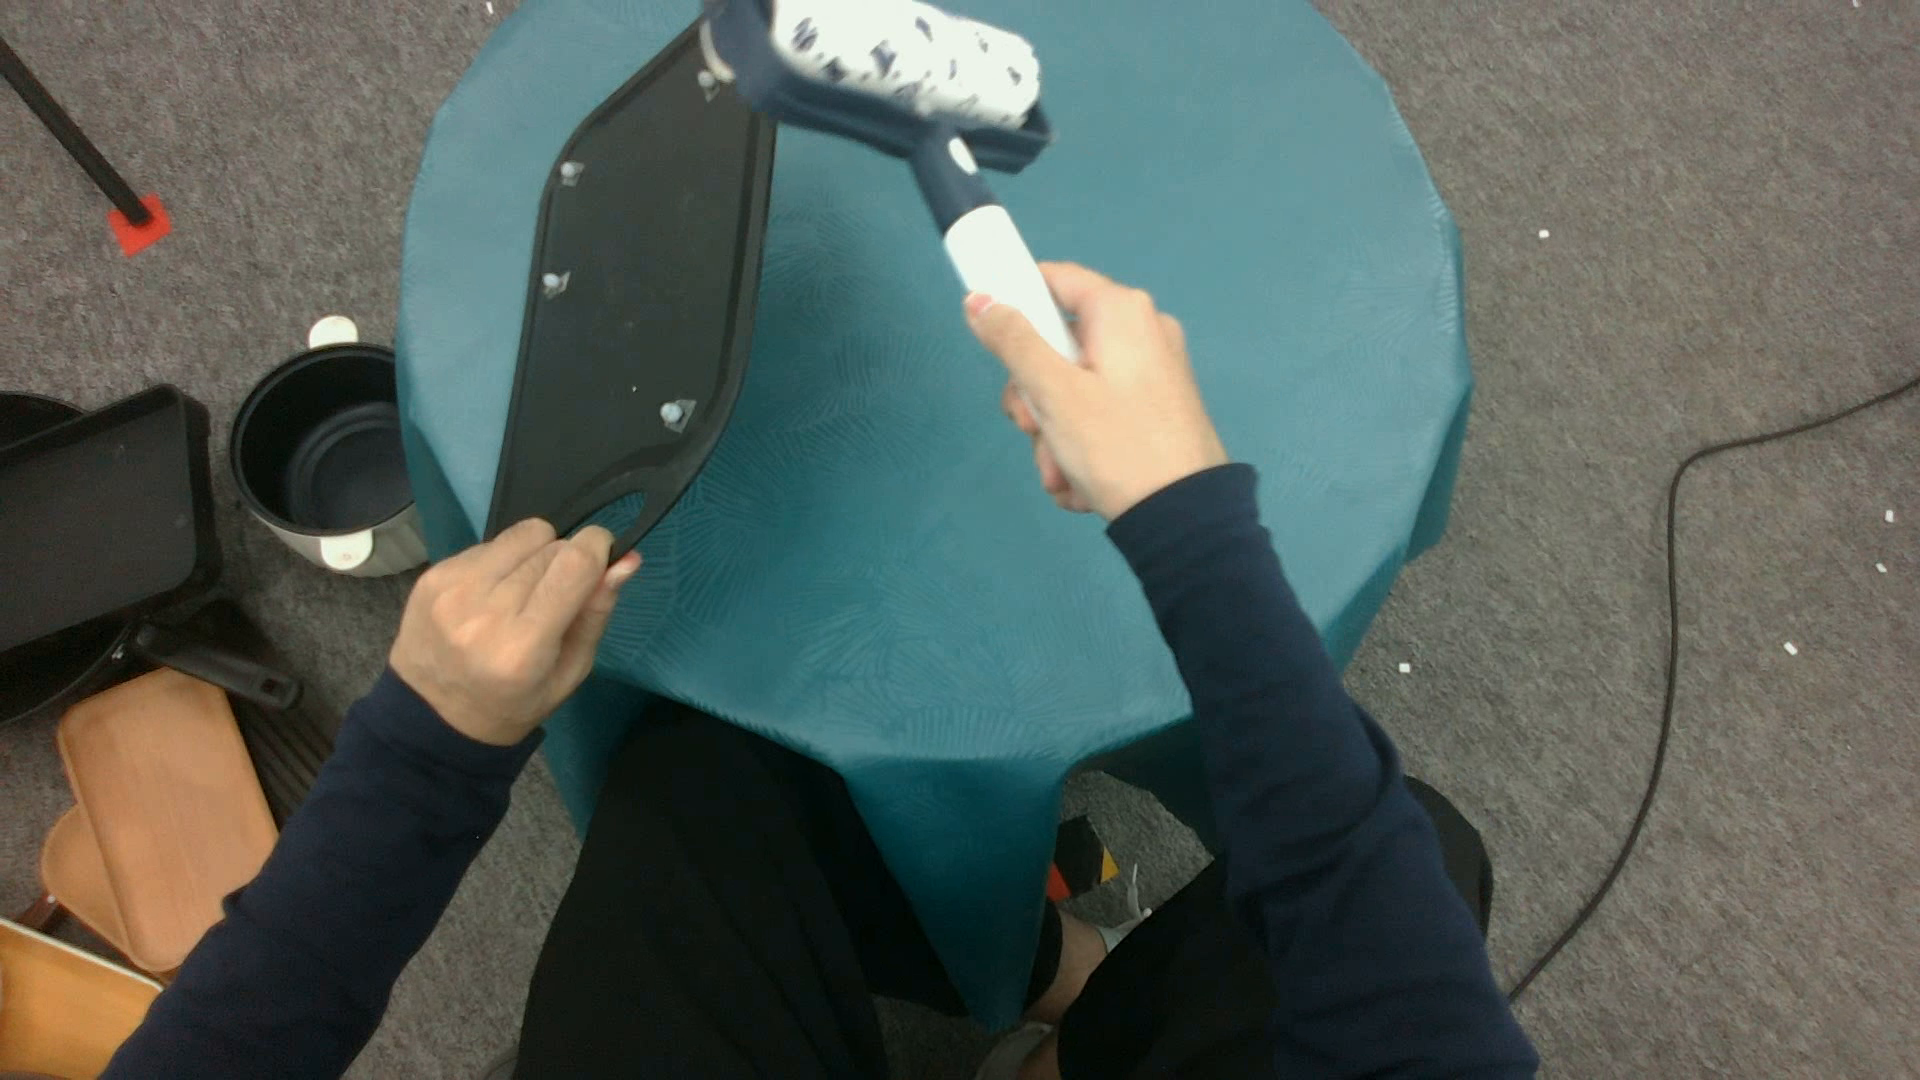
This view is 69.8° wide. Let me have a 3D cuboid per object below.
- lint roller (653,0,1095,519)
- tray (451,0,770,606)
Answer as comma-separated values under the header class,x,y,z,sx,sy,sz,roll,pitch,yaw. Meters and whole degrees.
class,x,y,z,sx,sy,sz,roll,pitch,yaw
lint roller,-0.007,-0.119,0.576,0.177,0.050,0.247,-9,61,-50
tray,-0.166,-0.123,0.647,0.010,0.210,0.327,29,50,-39
